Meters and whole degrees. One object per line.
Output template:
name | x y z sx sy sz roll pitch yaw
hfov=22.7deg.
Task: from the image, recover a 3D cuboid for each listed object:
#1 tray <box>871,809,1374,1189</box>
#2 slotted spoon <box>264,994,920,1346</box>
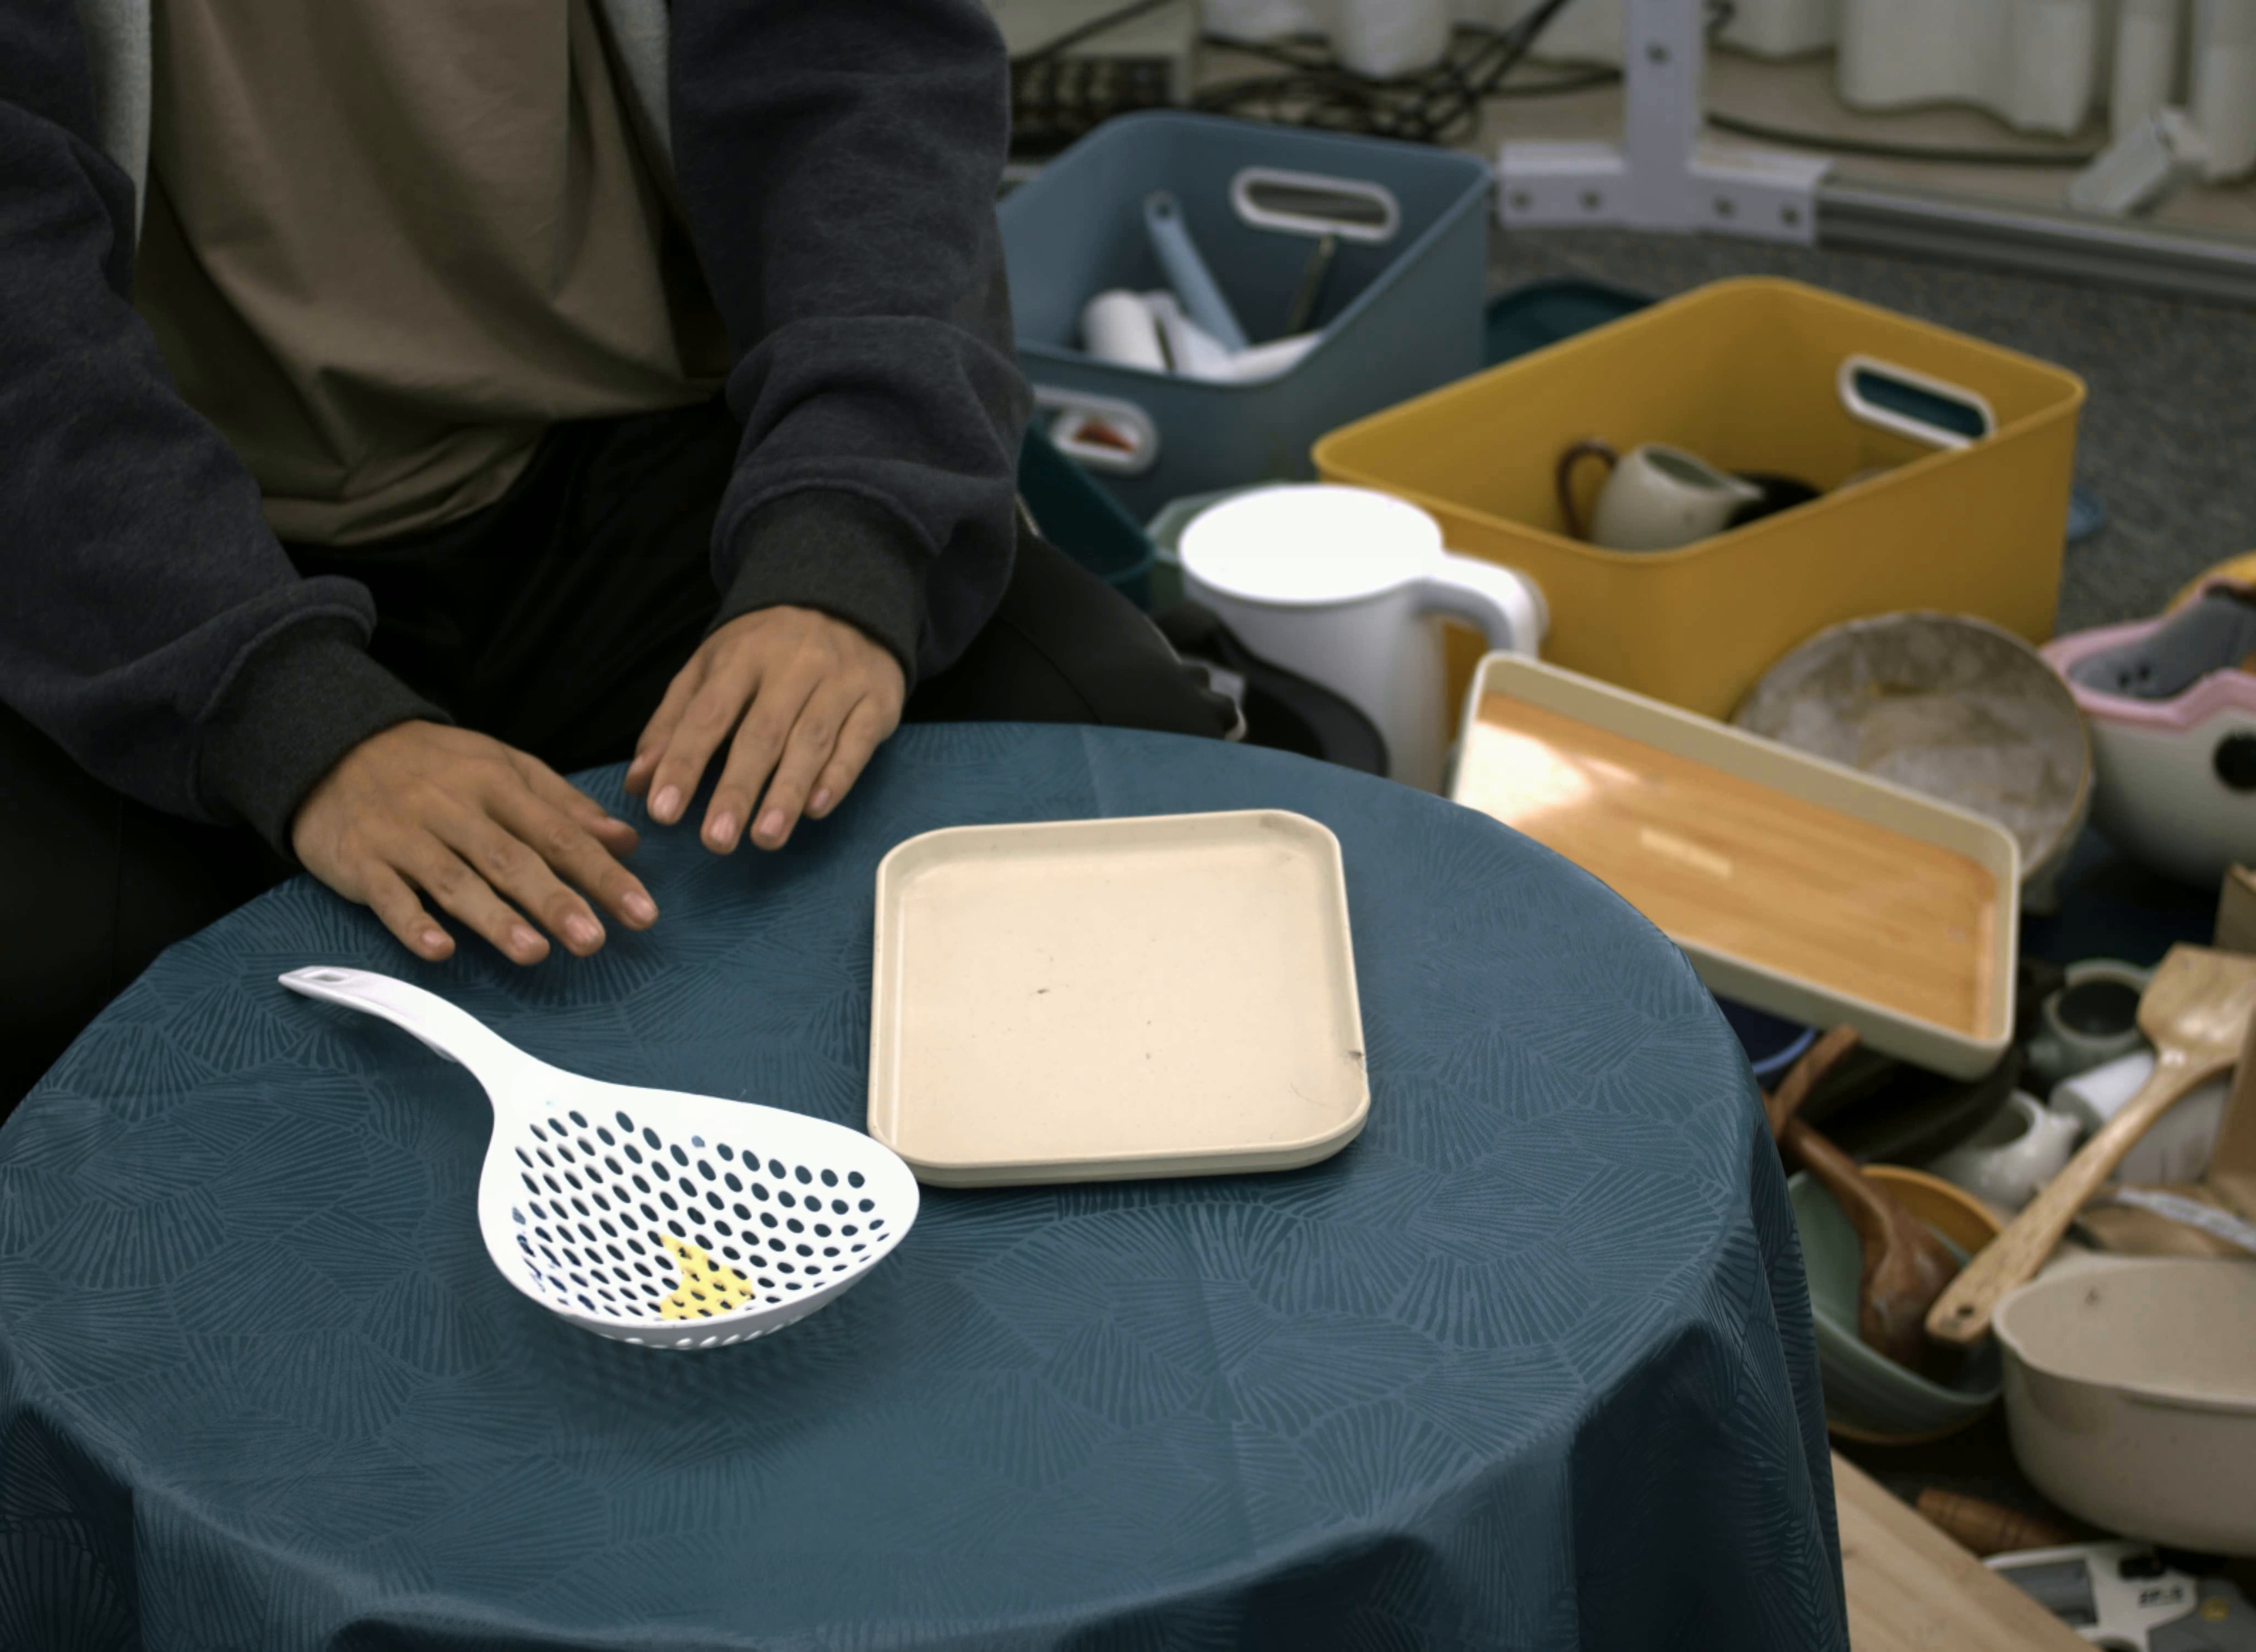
tray | -0.004 0.059 1.963 0.170 0.017 0.243 -4 27 0
slotted spoon | -0.198 0.101 1.880 0.138 0.050 0.348 -24 33 -29
